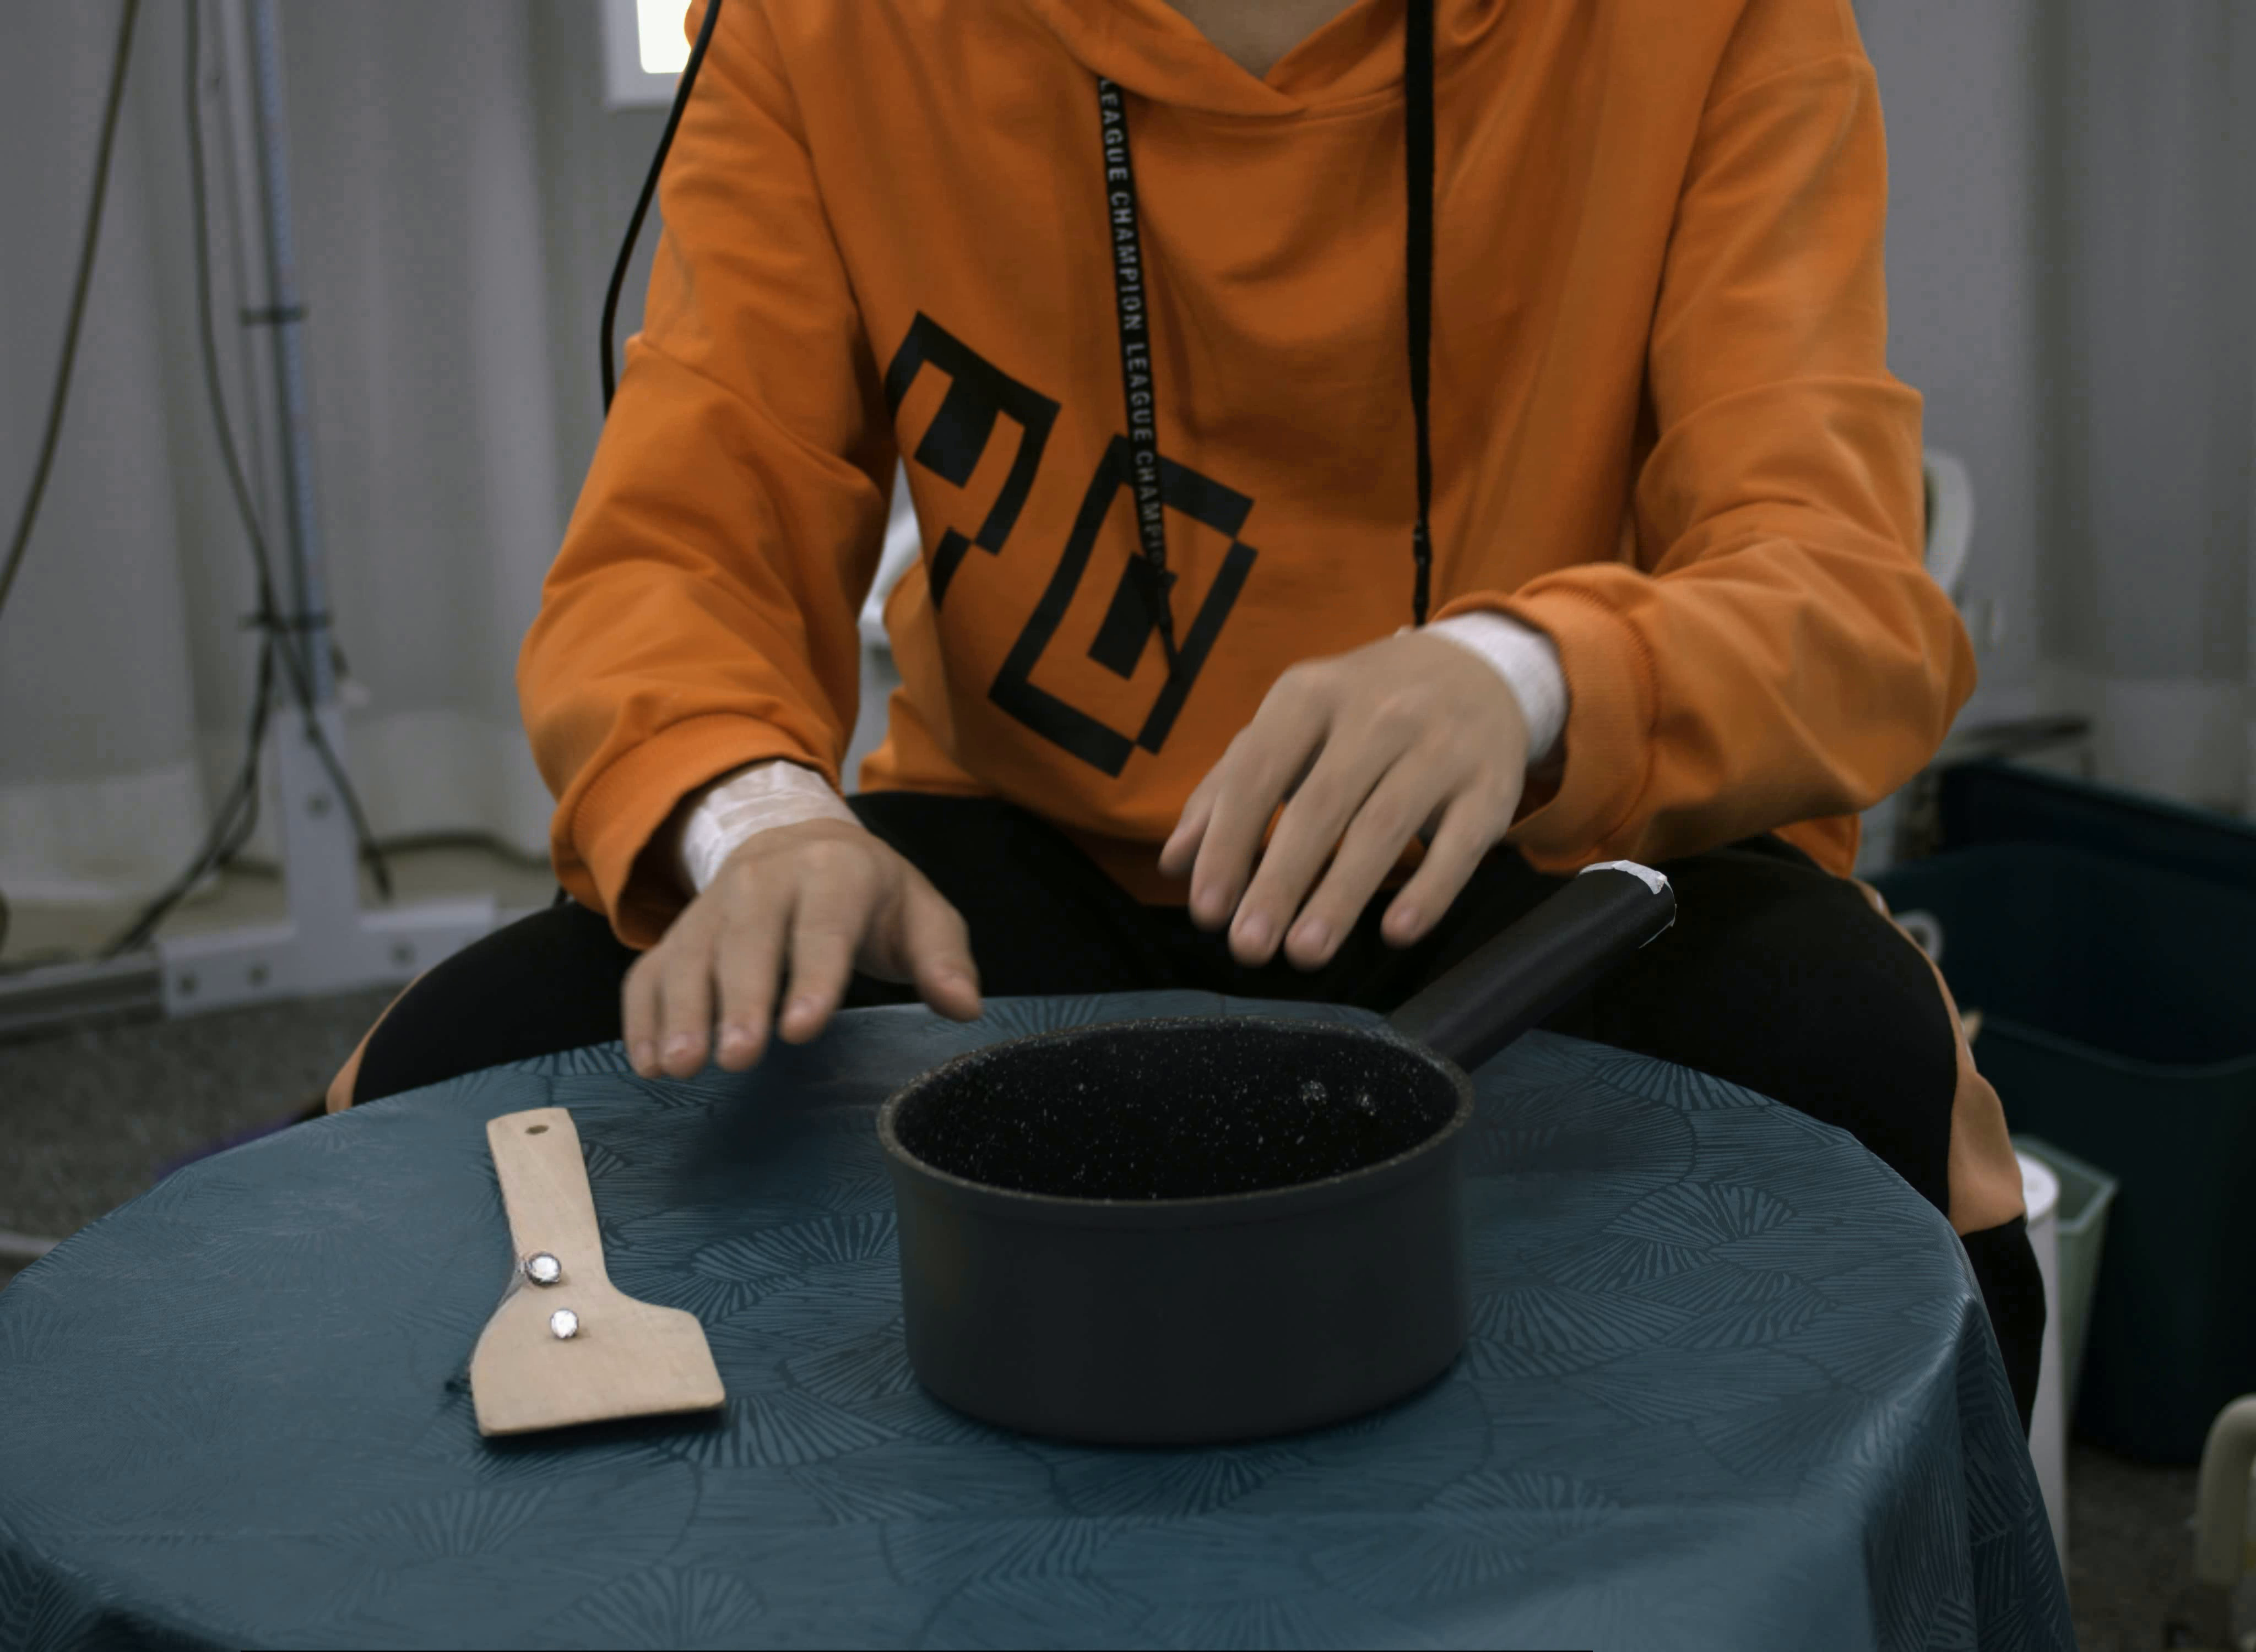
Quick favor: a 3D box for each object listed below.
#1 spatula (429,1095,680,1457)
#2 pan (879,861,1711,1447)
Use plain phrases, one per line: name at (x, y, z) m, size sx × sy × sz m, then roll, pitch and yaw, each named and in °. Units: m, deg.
spatula at (-0.176, 0.134, 1.674) m, size 0.072 × 0.010 × 0.295 m, roll -7°, pitch 17°, yaw -4°
pan at (0.067, 0.093, 1.621) m, size 0.173 × 0.086 × 0.328 m, roll 10°, pitch 22°, yaw 39°
